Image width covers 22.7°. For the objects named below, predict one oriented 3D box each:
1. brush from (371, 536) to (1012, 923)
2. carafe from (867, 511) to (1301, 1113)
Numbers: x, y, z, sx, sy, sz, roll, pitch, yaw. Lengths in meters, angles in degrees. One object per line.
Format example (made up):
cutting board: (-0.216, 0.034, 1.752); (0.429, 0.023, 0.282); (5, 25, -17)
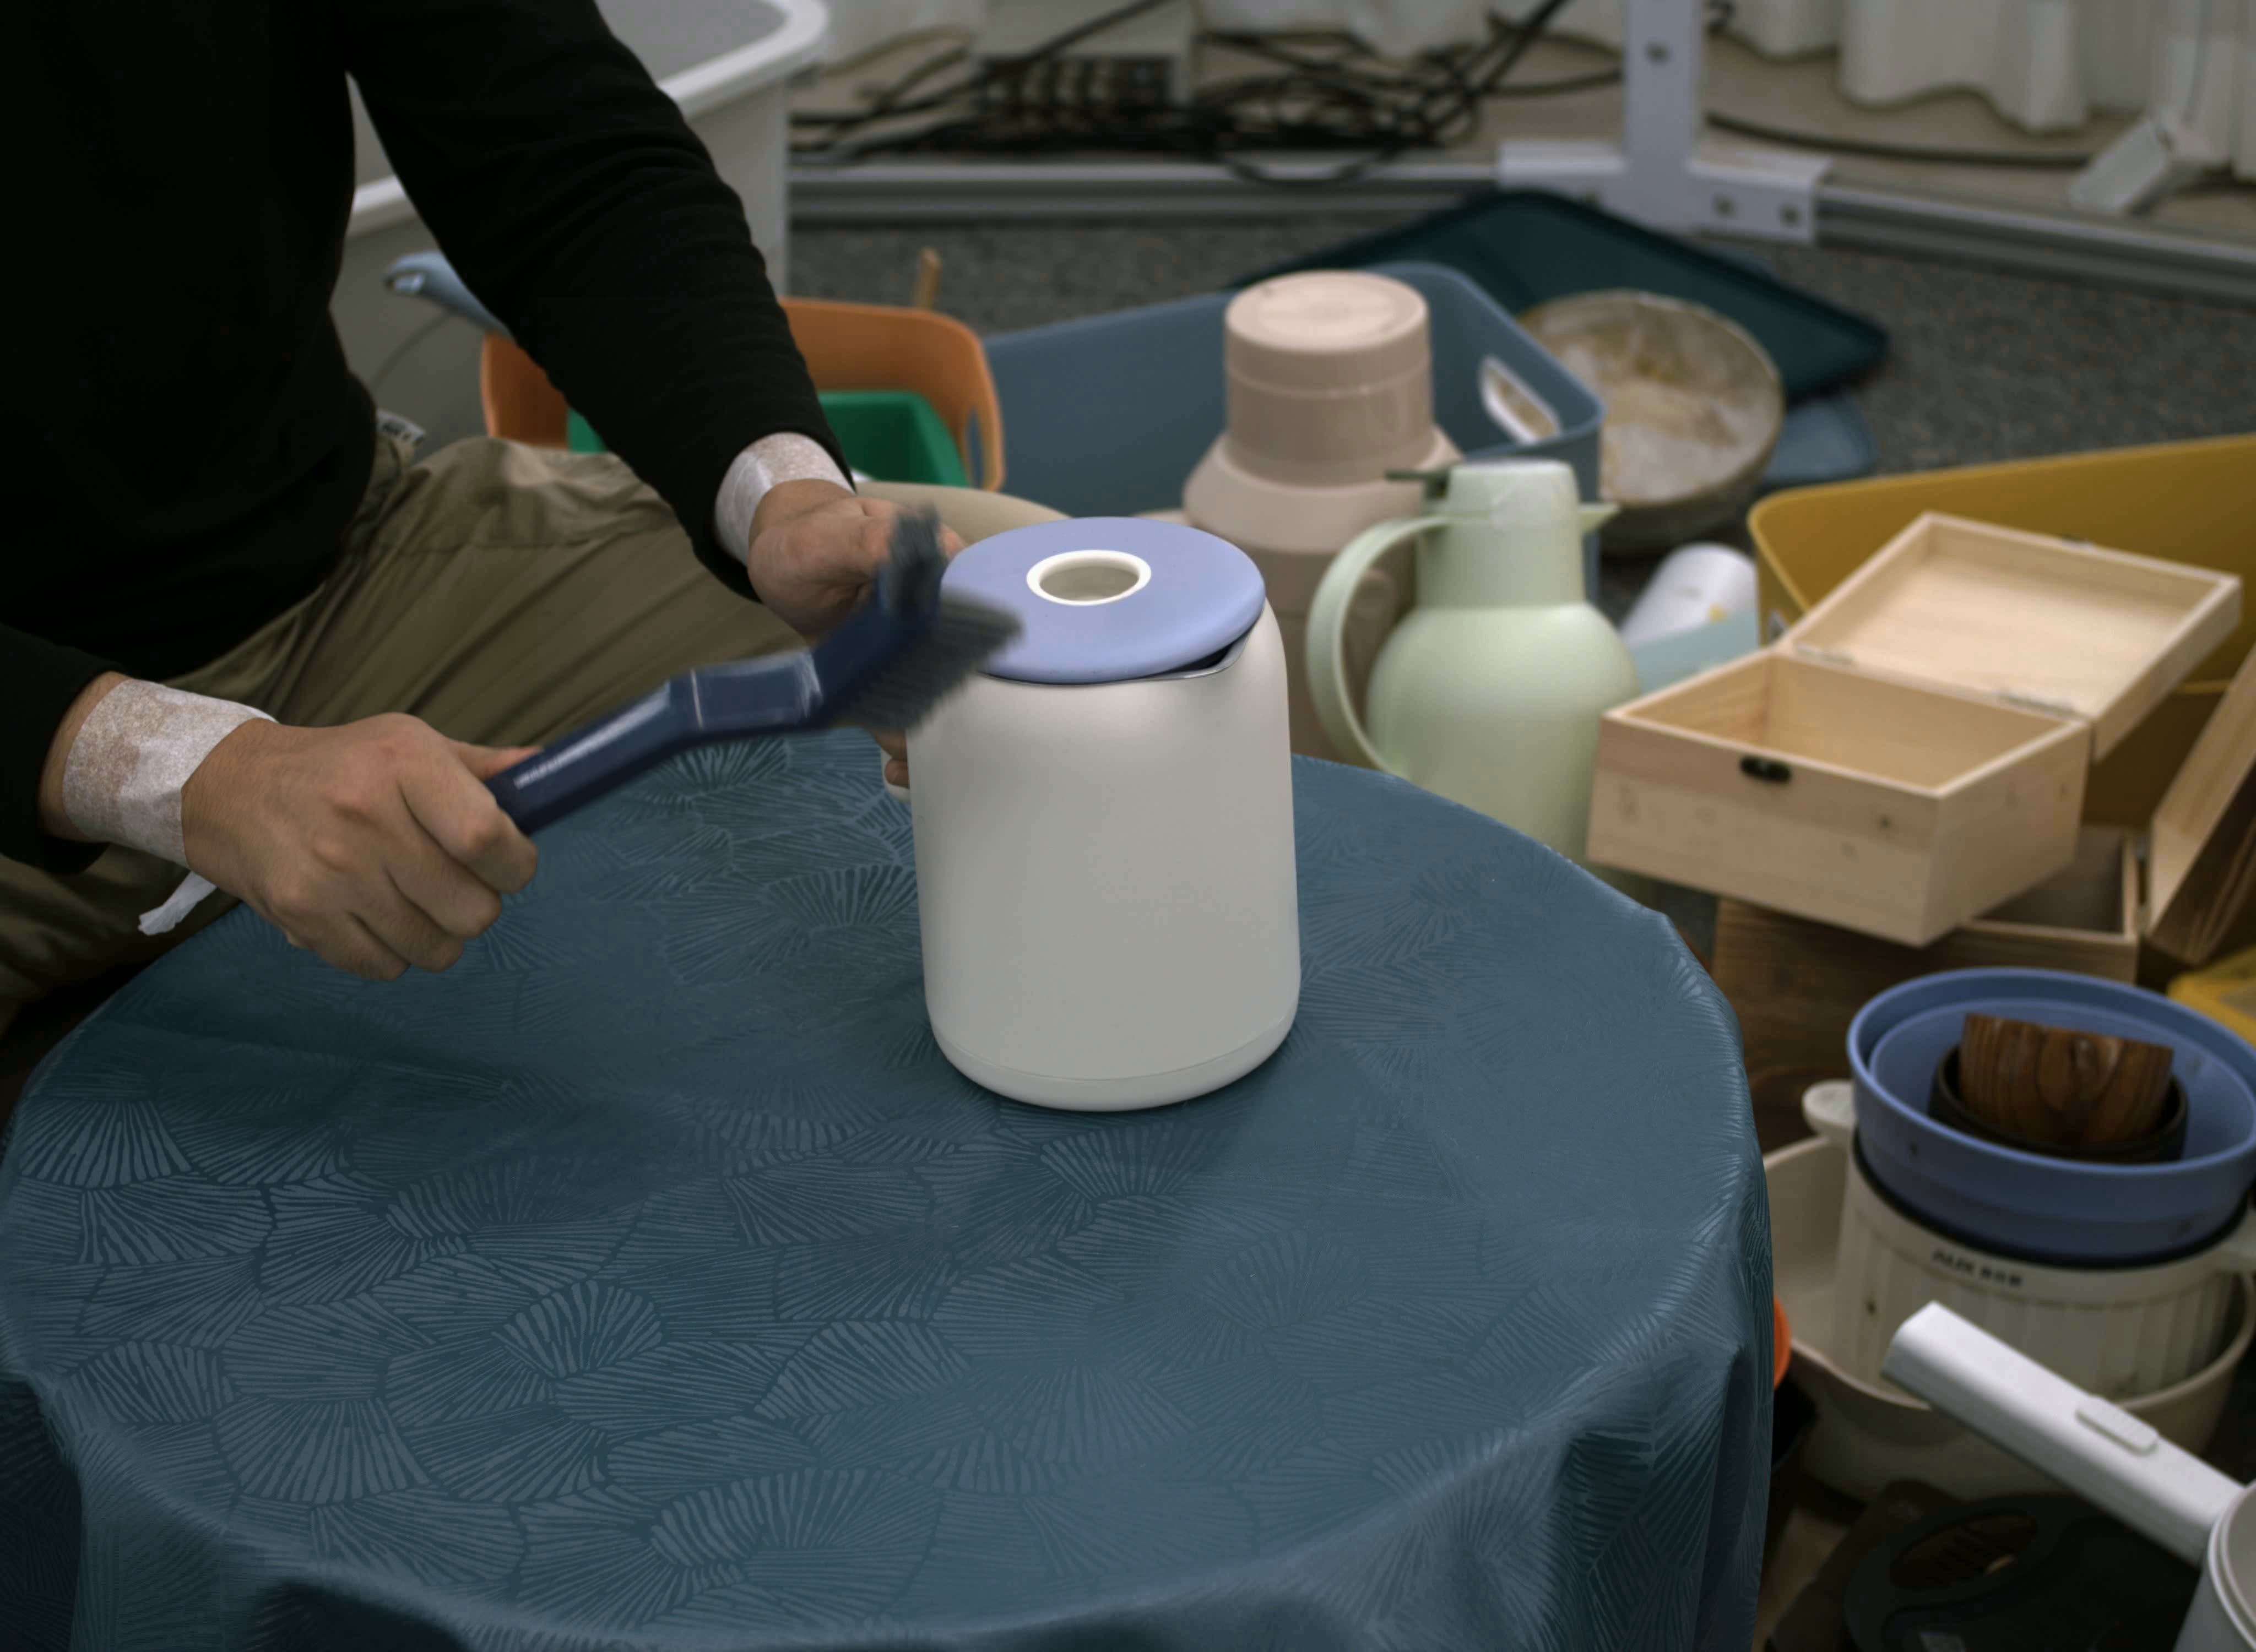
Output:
brush: (-0.158, -0.030, 1.834); (0.270, 0.095, 0.034); (-19, 57, 26)
carafe: (-0.025, -0.013, 1.939); (0.133, 0.181, 0.191); (-24, 32, -36)
